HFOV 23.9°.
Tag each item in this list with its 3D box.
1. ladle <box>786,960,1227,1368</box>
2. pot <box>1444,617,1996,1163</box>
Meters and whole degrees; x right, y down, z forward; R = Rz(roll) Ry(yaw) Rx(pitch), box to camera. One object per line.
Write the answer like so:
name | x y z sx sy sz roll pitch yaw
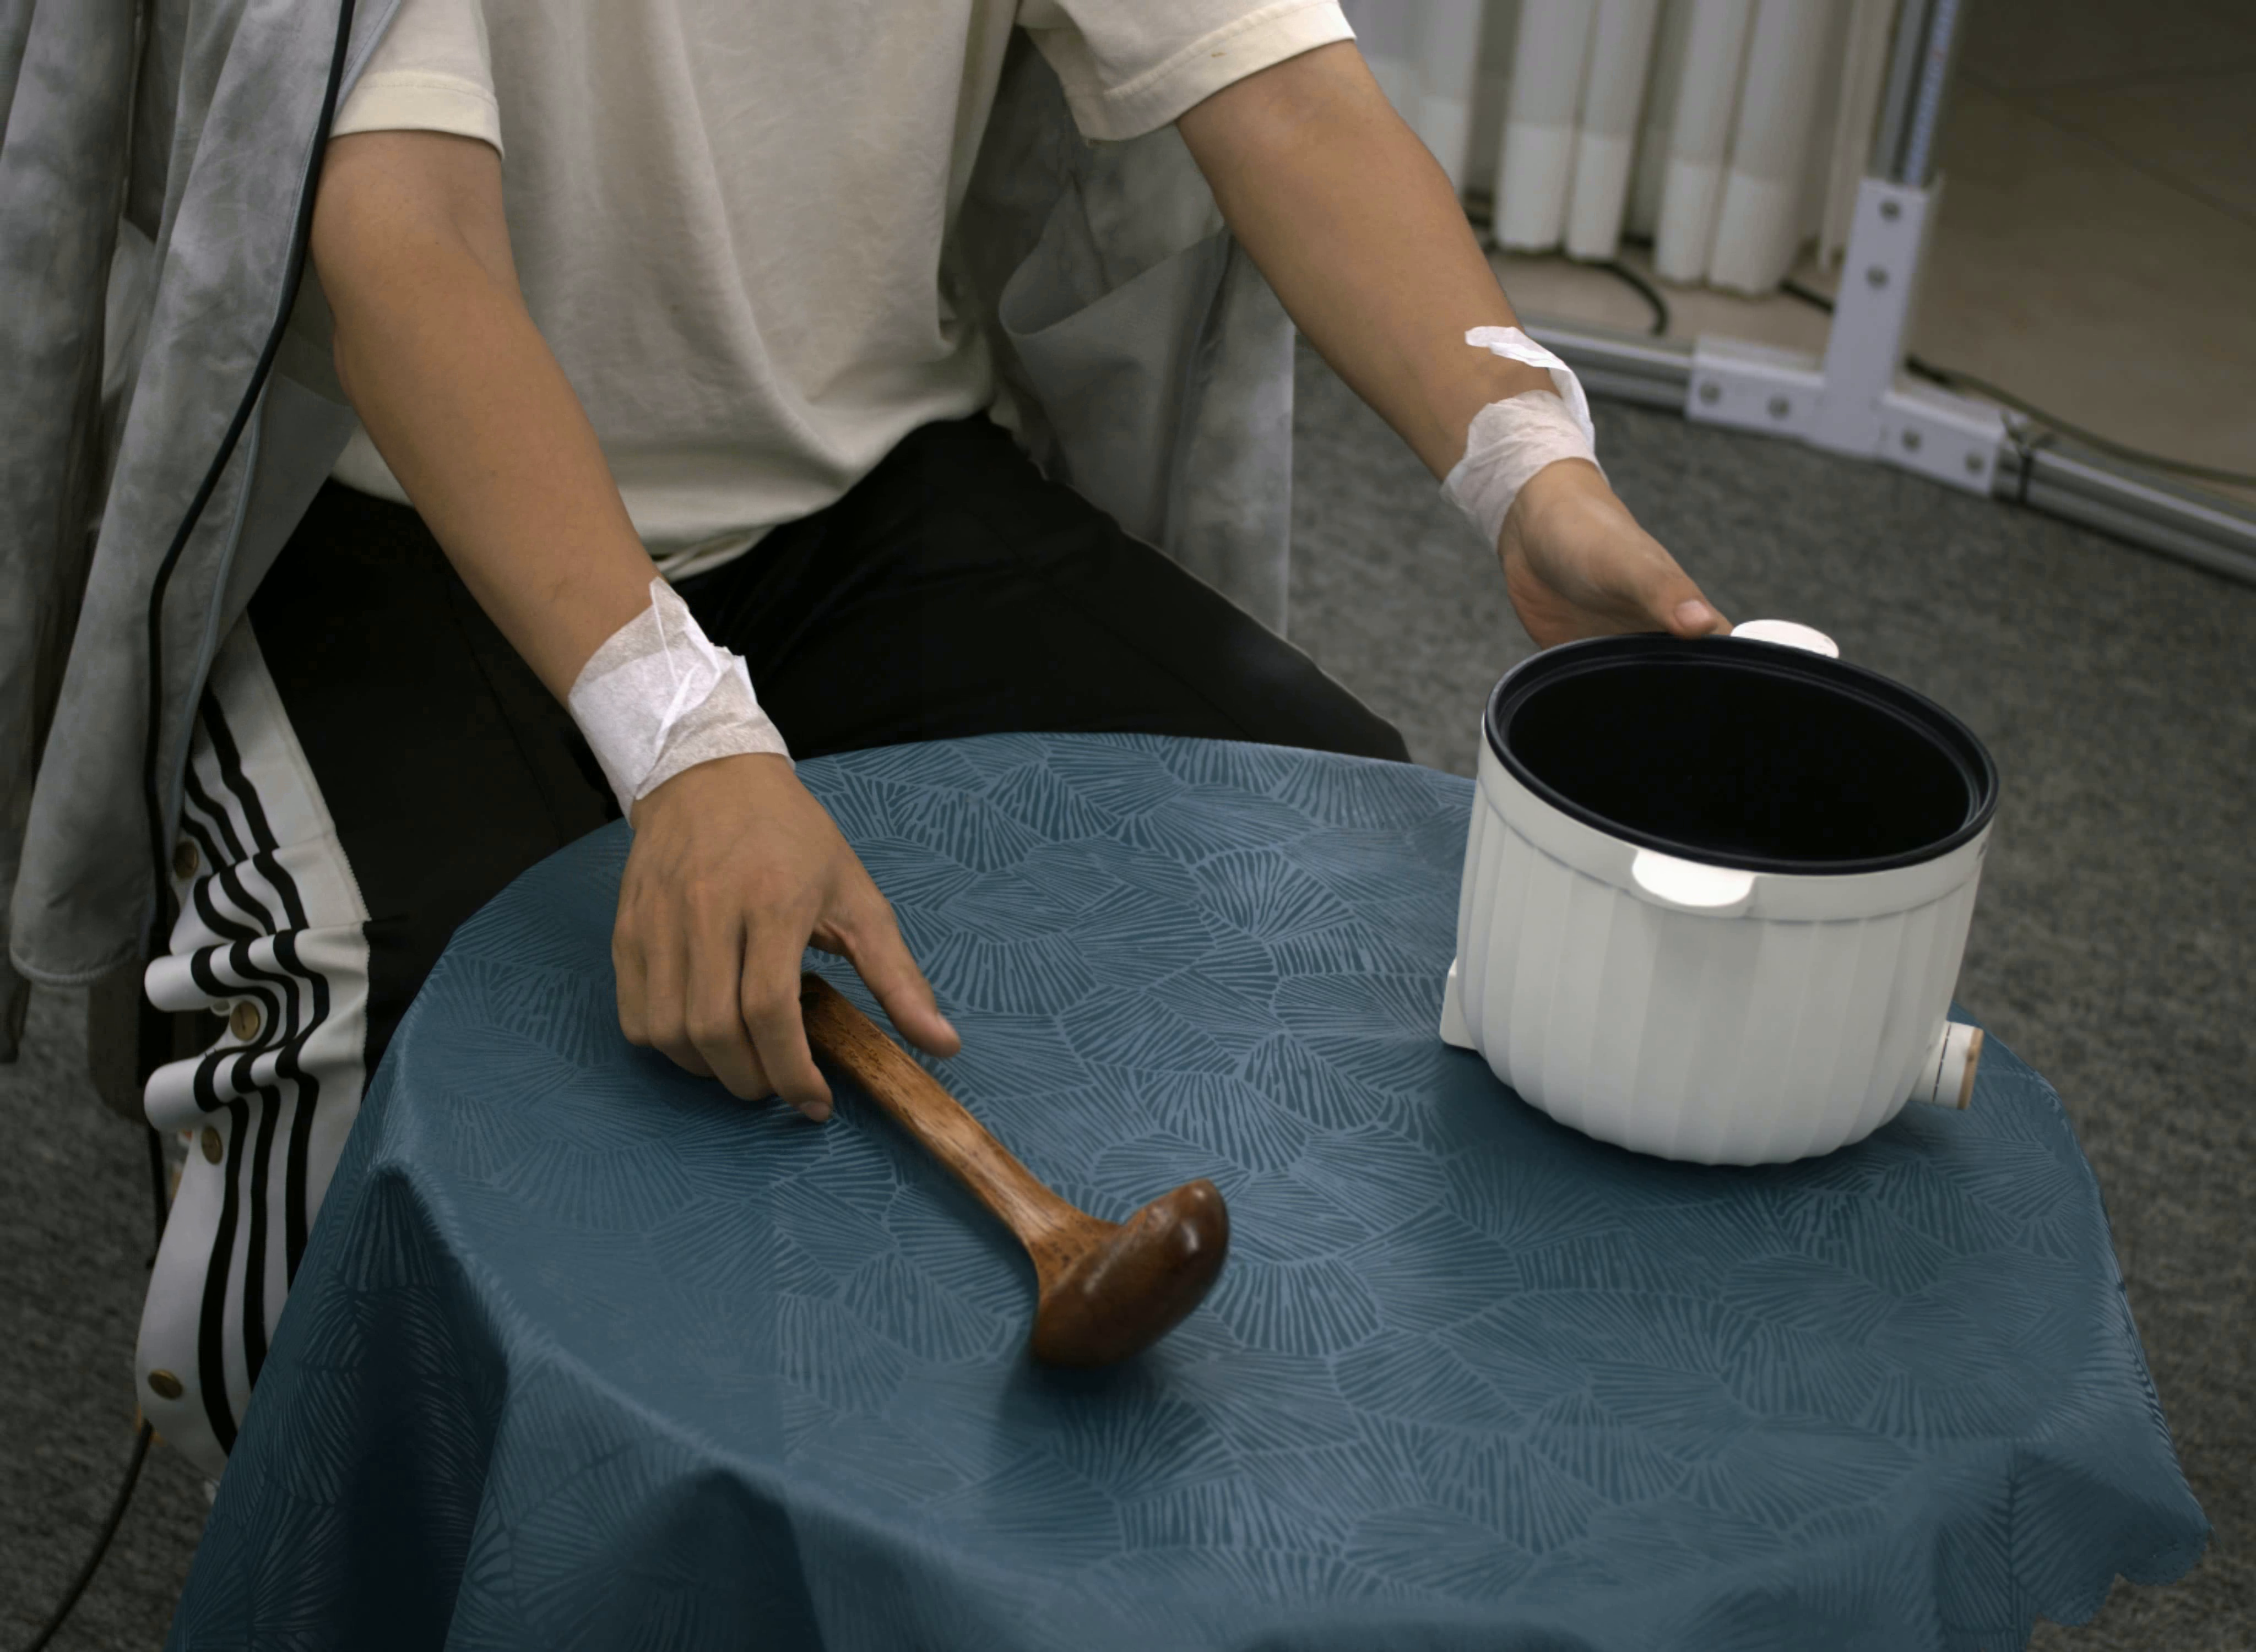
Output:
ladle | -0.057 0.095 1.766 0.082 0.076 0.276 -31 40 -15
pot | 0.212 0.030 1.883 0.190 0.142 0.241 9 28 12
